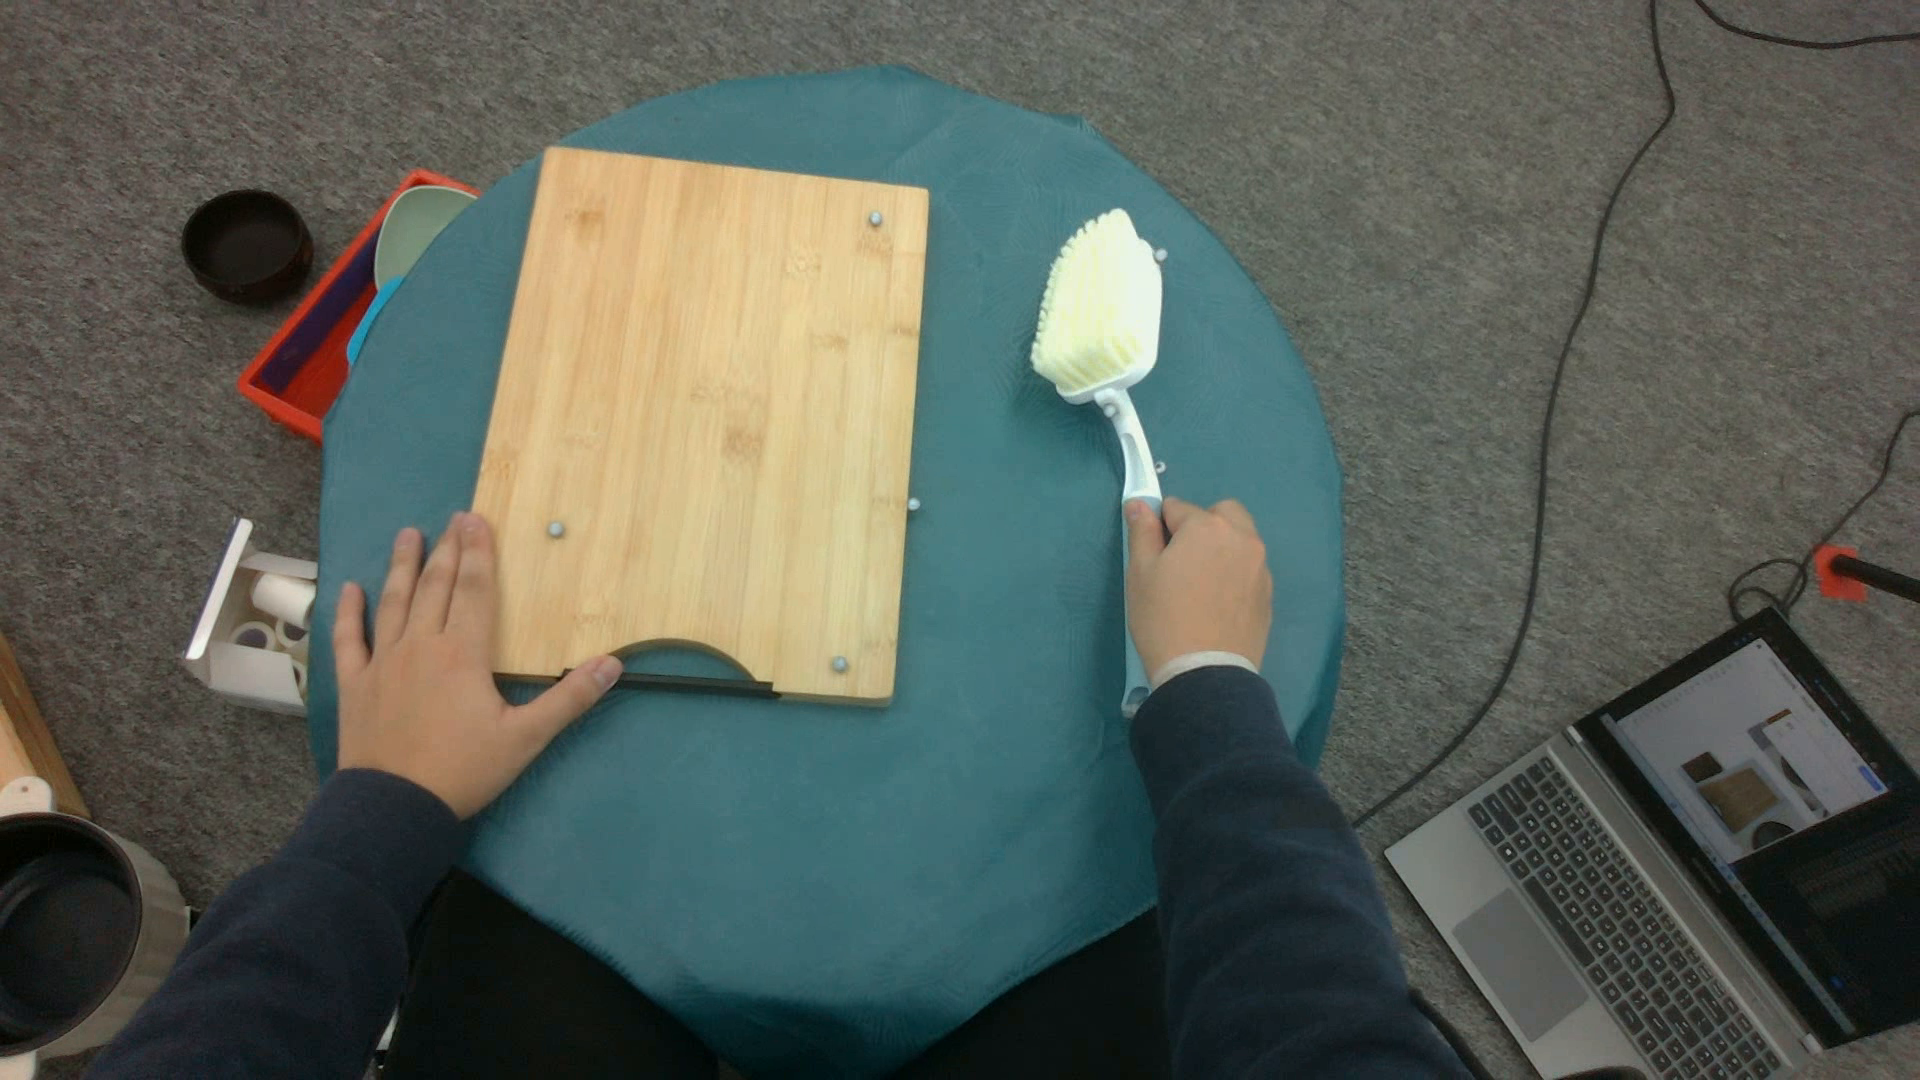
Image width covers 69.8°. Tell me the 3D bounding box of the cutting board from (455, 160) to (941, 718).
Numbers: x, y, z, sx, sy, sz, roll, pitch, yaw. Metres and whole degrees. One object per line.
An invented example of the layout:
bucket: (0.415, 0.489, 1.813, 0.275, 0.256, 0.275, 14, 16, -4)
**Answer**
cutting board: (-0.144, -0.071, 0.825, 0.251, 0.023, 0.350, 4, 67, -4)

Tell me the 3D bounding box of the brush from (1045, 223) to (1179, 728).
brush: (0.093, -0.054, 0.807, 0.084, 0.082, 0.326, 7, 65, -12)
